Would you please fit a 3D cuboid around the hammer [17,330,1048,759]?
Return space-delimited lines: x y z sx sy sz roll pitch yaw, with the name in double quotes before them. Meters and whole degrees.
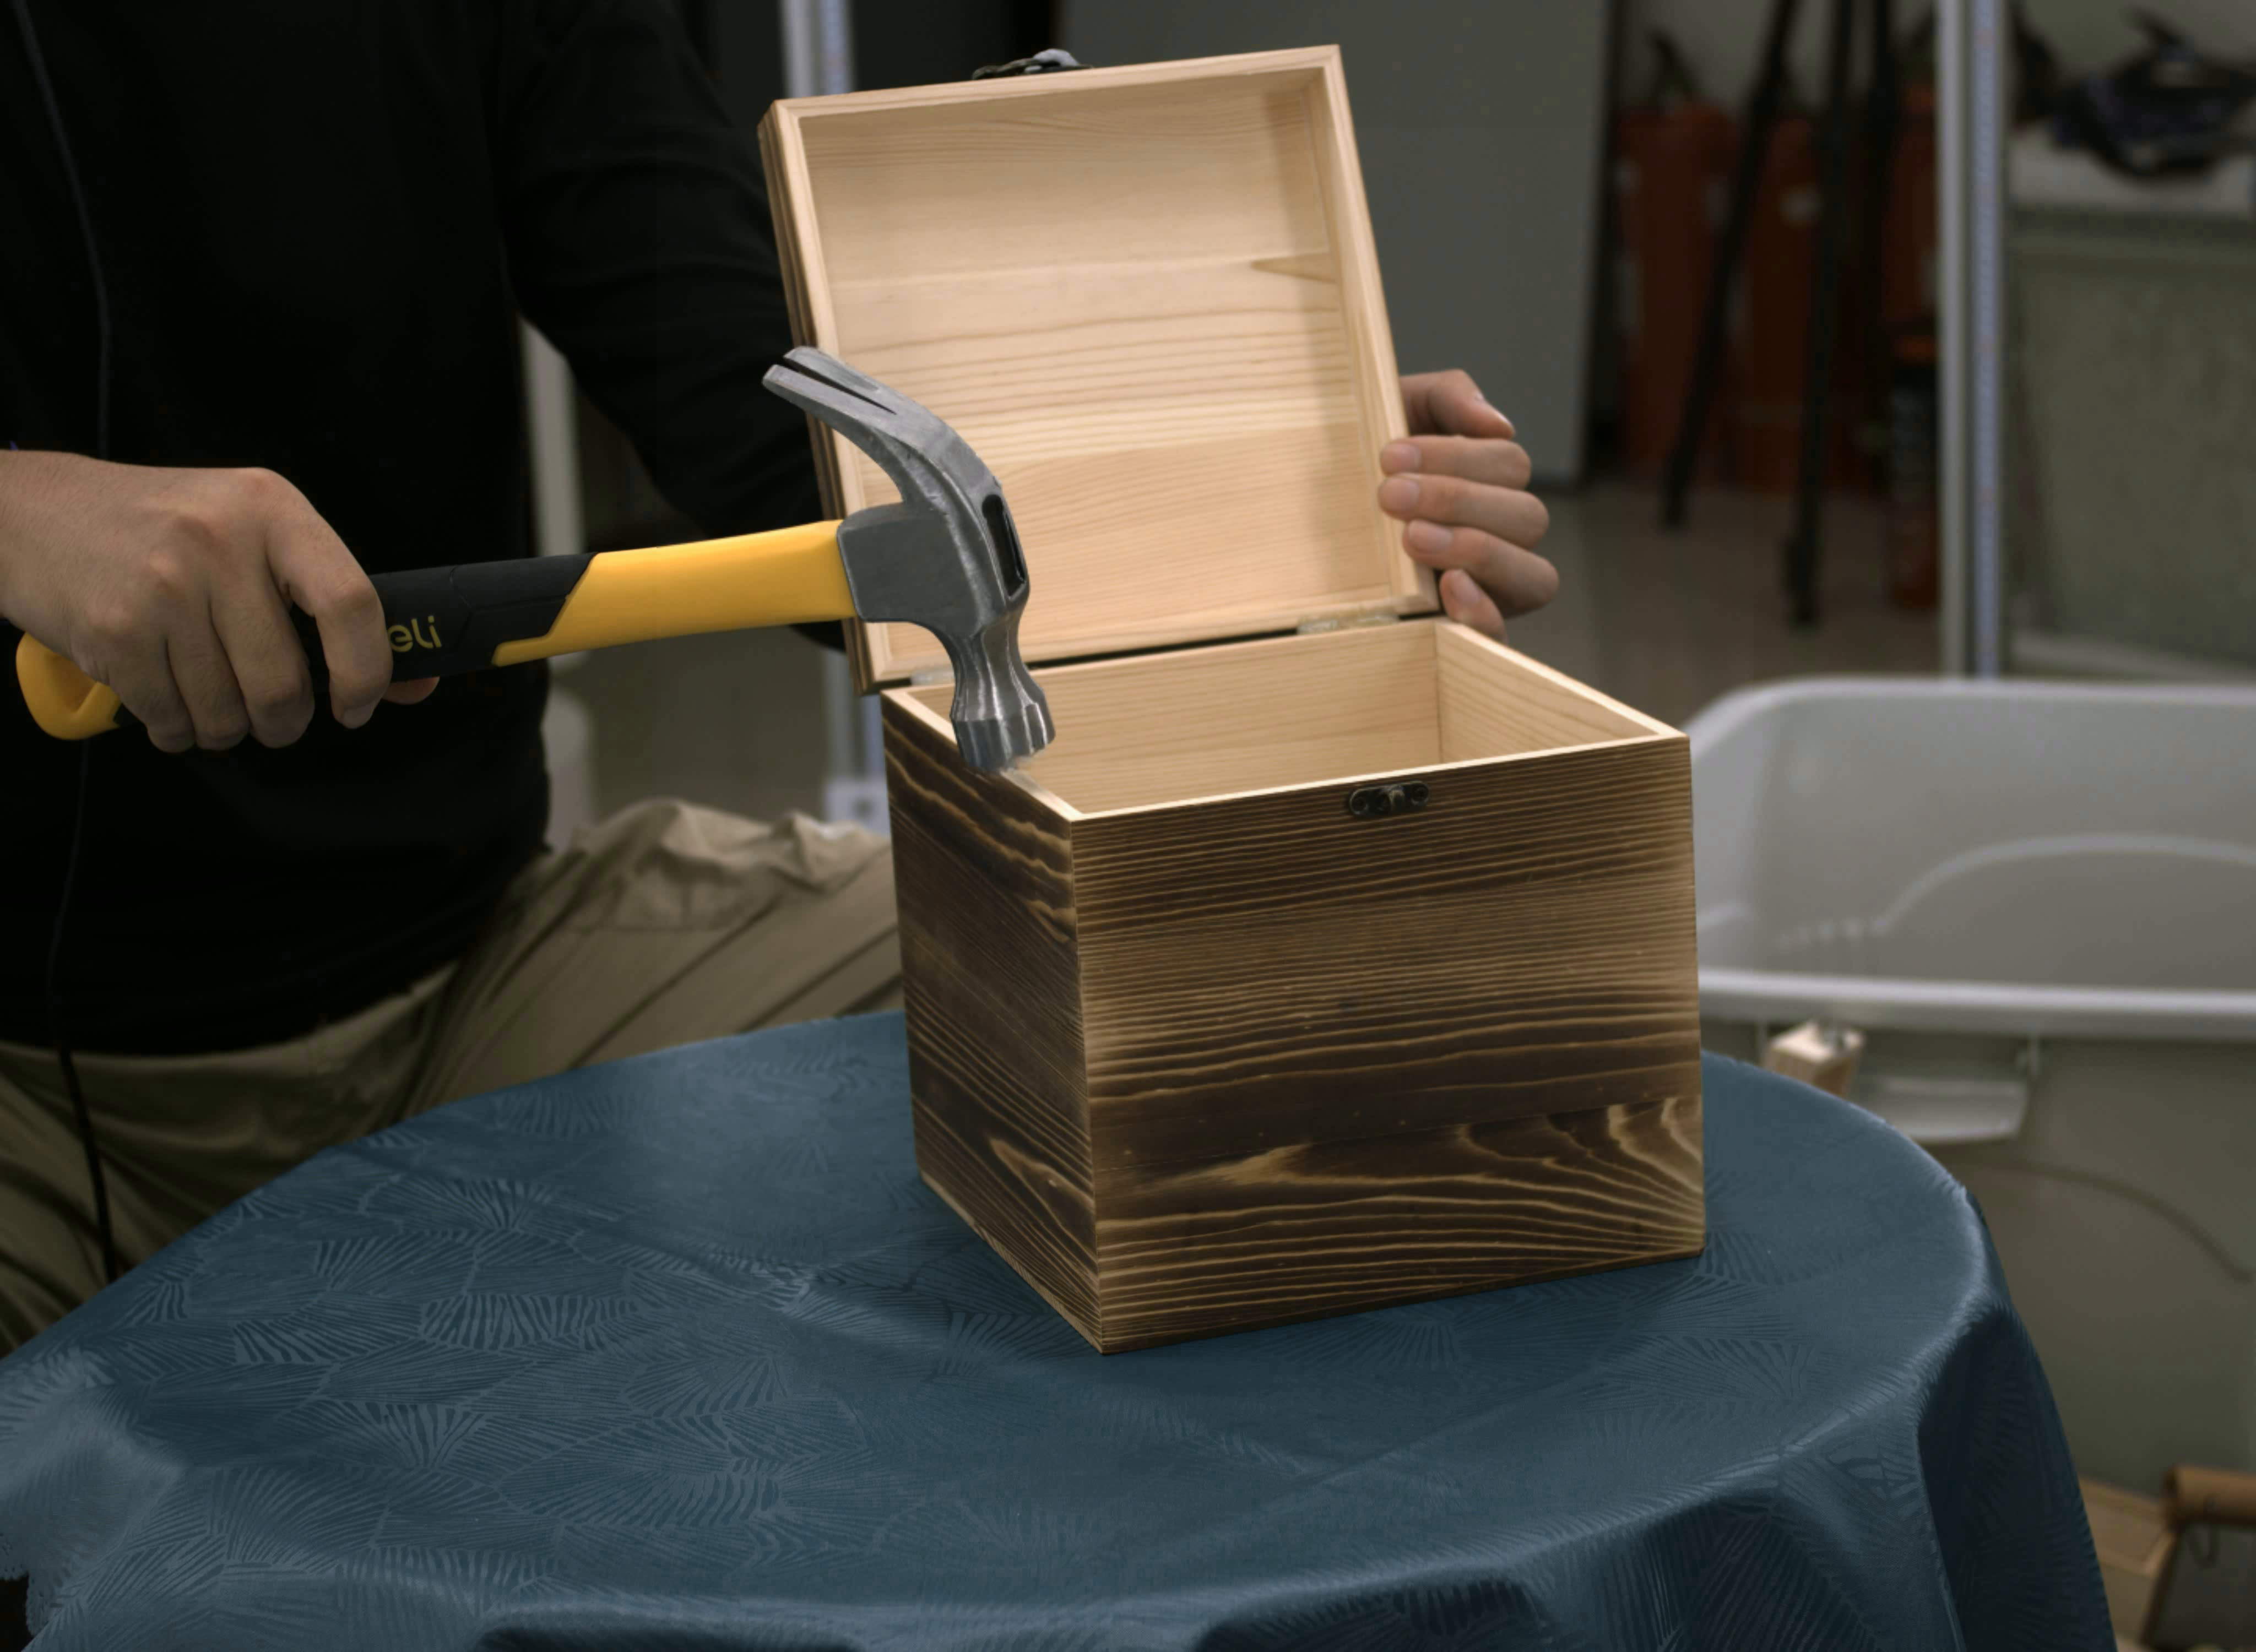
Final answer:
"hammer" -0.192 -0.067 1.667 0.338 0.132 0.032 -8 17 23

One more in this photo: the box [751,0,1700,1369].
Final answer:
"box" 0.026 -0.065 1.741 0.204 0.379 0.325 -8 15 -16
